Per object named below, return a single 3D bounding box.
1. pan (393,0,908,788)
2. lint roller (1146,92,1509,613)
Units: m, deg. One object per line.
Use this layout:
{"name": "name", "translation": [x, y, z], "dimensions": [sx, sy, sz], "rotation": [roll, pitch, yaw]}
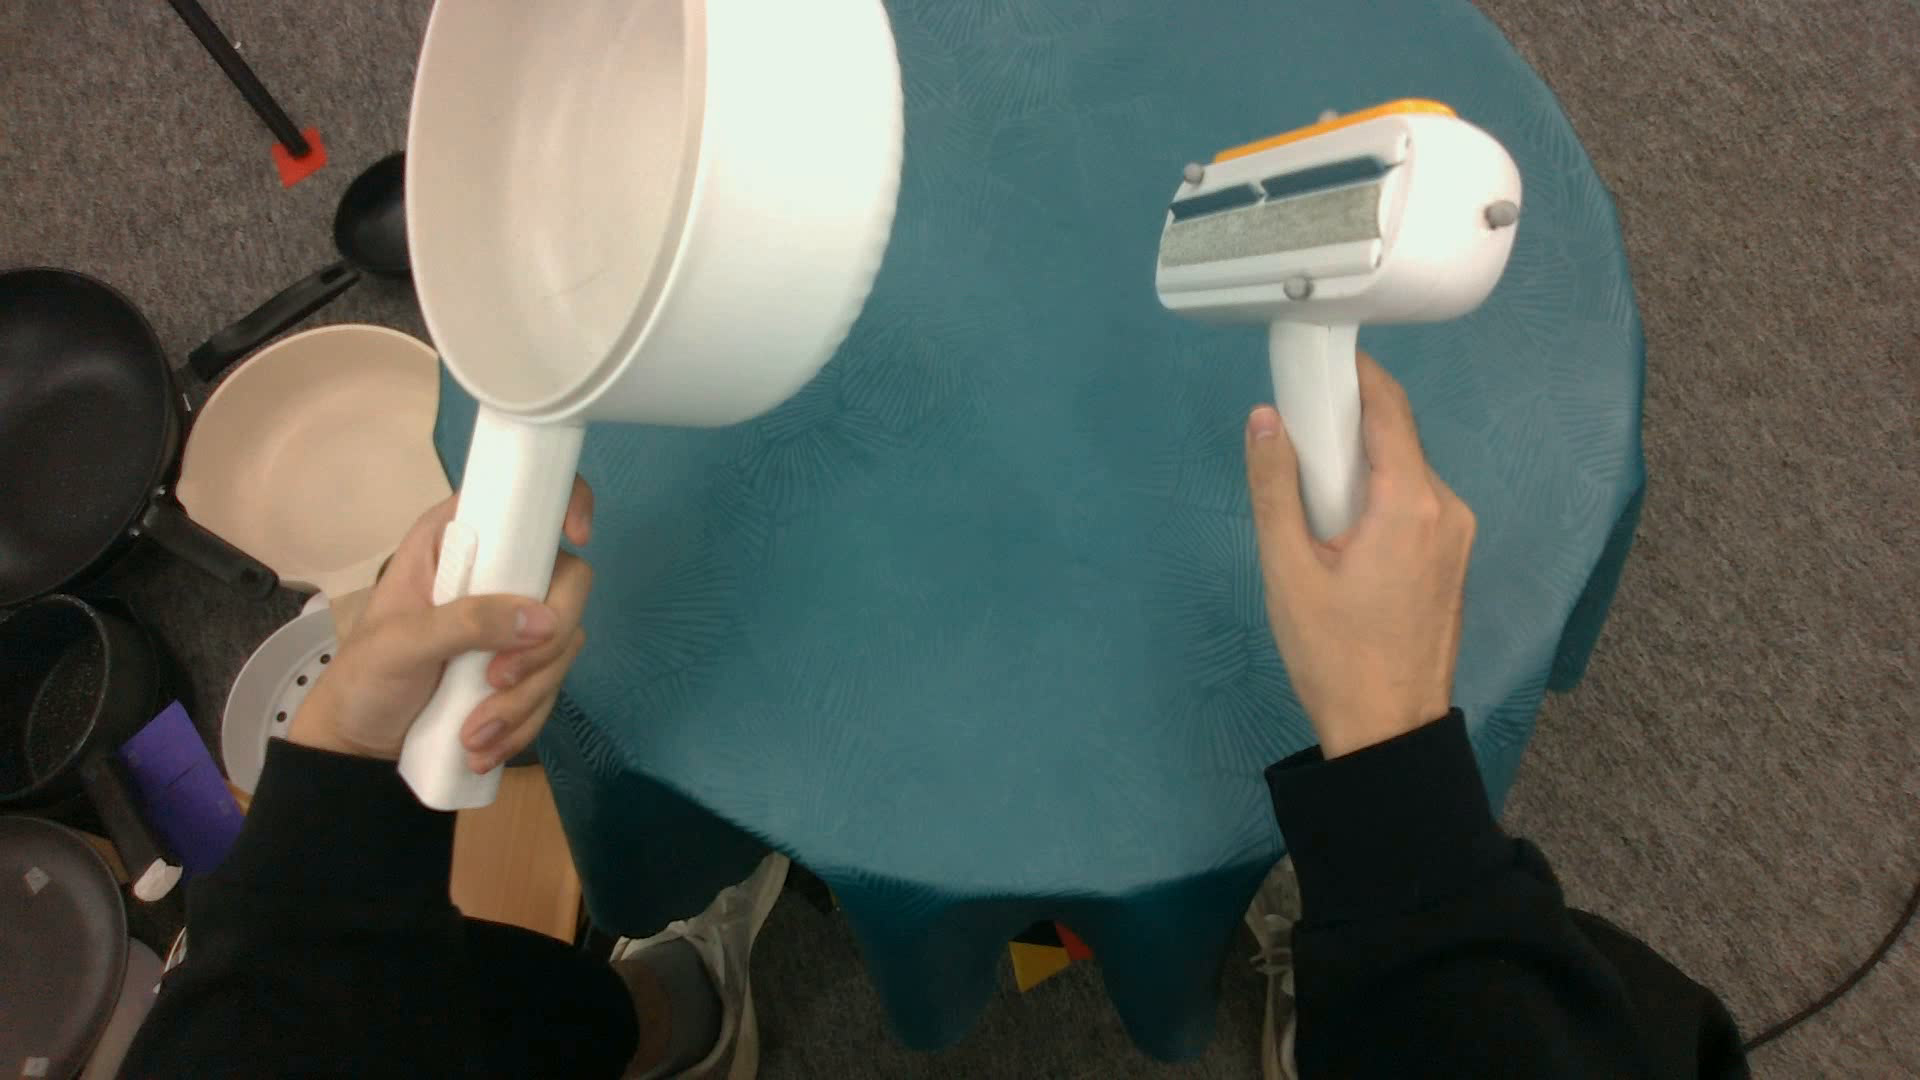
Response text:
{"name": "pan", "translation": [-0.131, -0.075, 0.523], "dimensions": [0.201, 0.102, 0.354], "rotation": [27, 110, 36]}
{"name": "lint roller", "translation": [0.130, -0.065, 0.525], "dimensions": [0.074, 0.193, 0.192], "rotation": [-2, 103, -20]}
